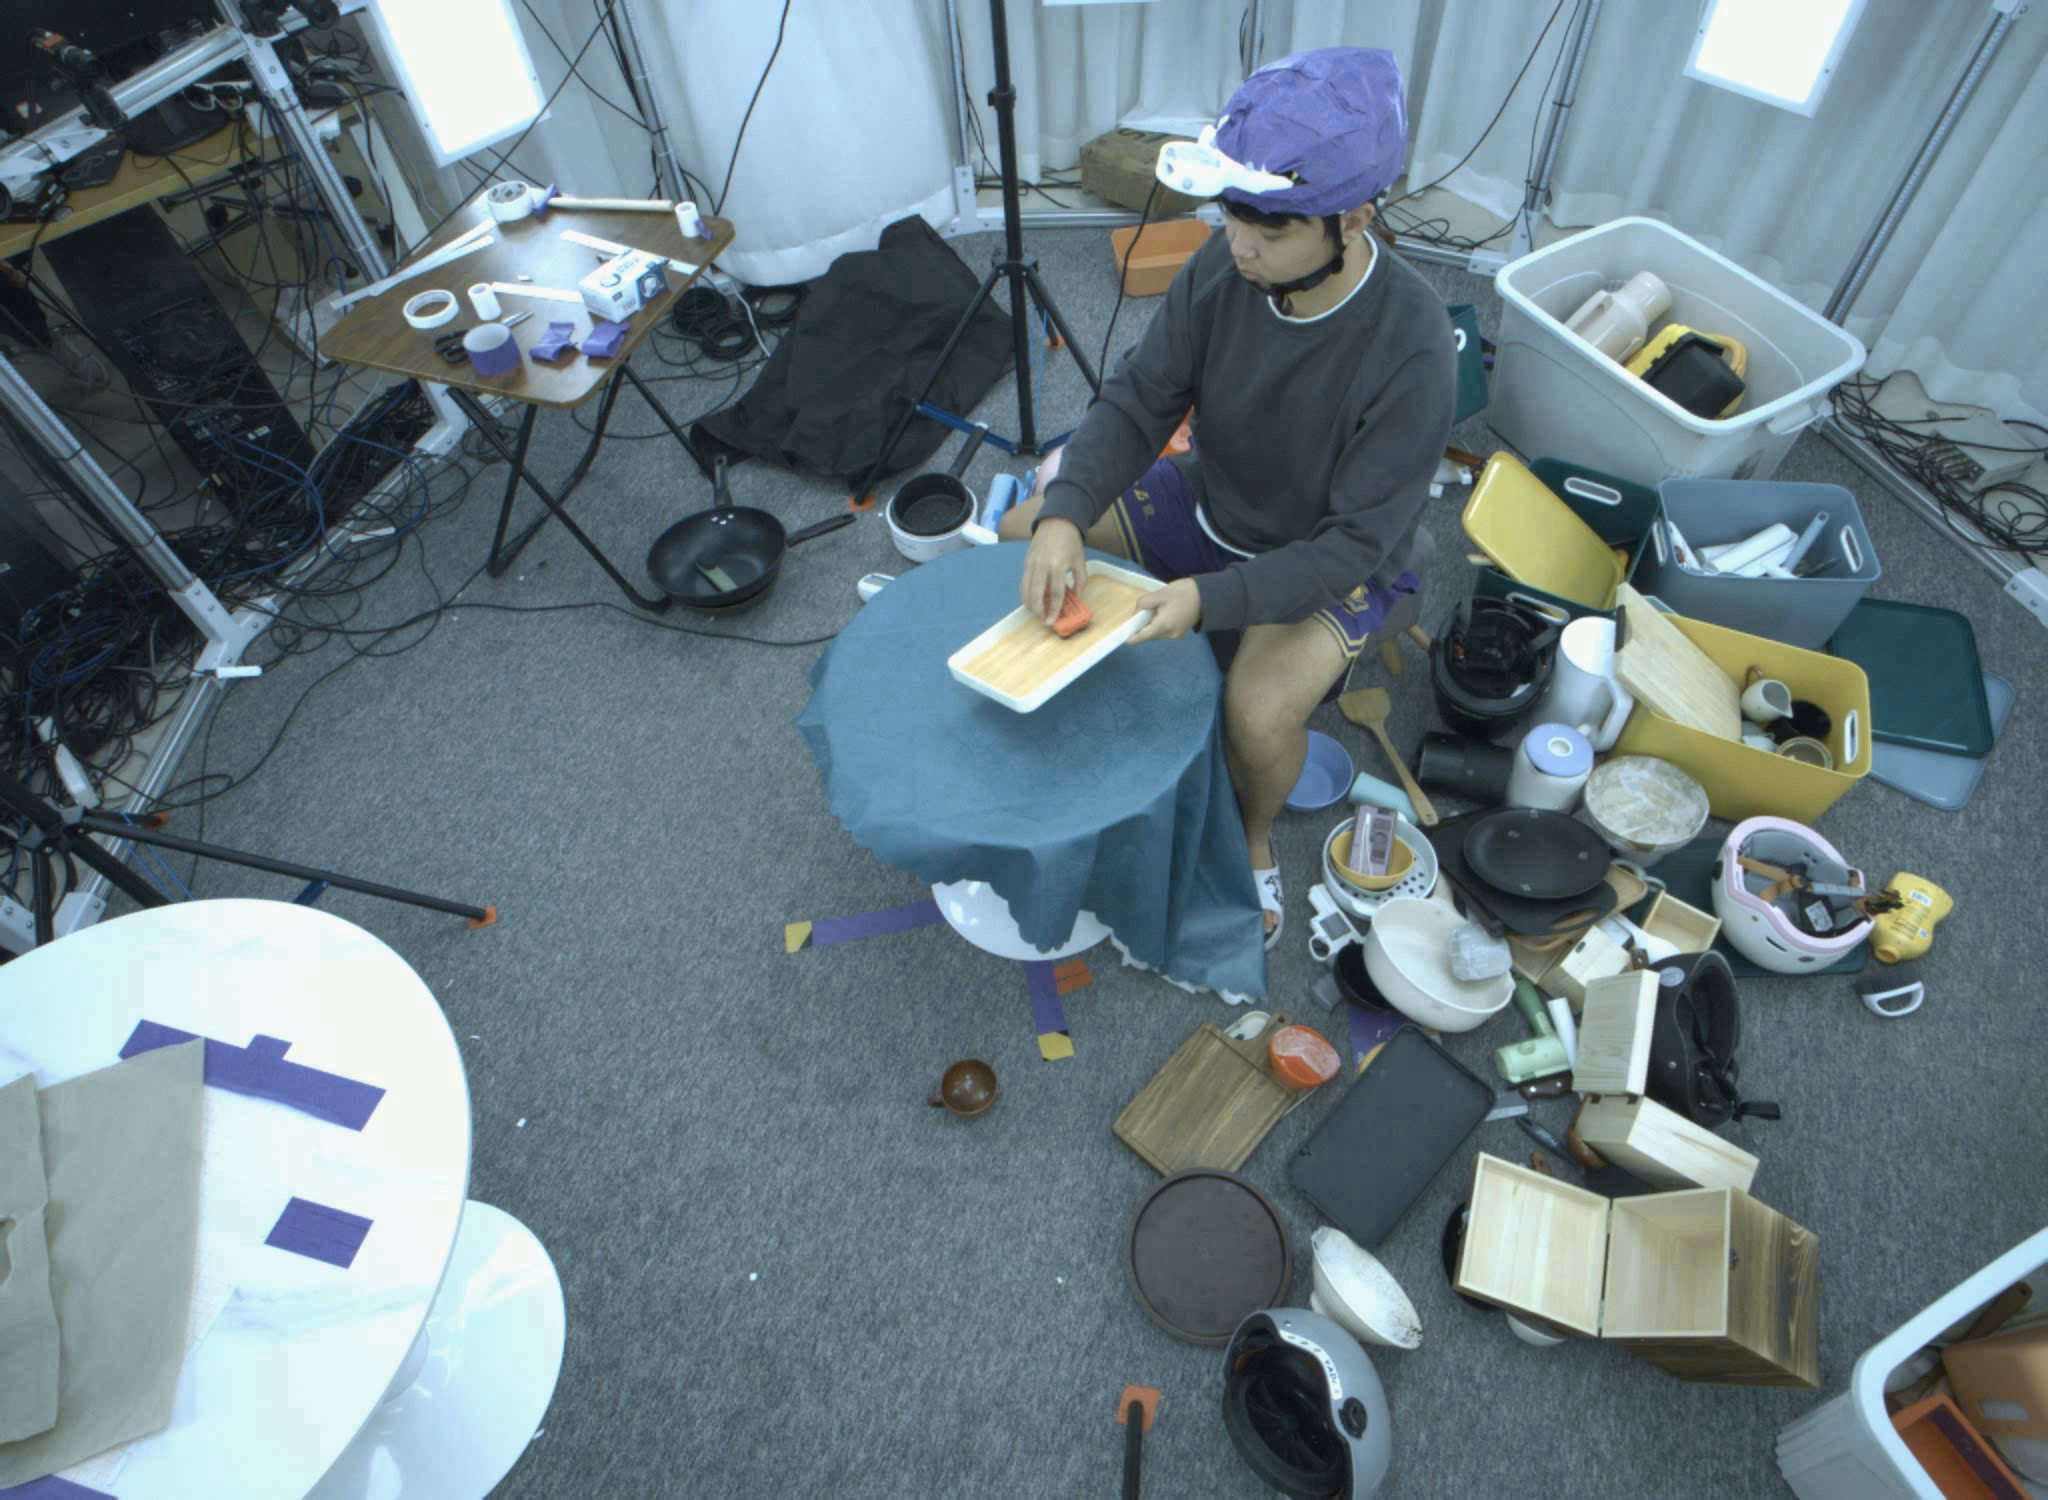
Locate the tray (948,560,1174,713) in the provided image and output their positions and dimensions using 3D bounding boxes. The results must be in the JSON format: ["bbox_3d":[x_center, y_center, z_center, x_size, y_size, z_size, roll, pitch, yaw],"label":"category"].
[{"bbox_3d":[0.053,-0.170,1.778,0.302,0.028,0.187,-37,41,-21],"label":"tray"}]

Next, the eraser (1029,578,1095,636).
[{"bbox_3d":[0.055,-0.210,1.797,0.059,0.023,0.105,-23,47,-18],"label":"eraser"}]
